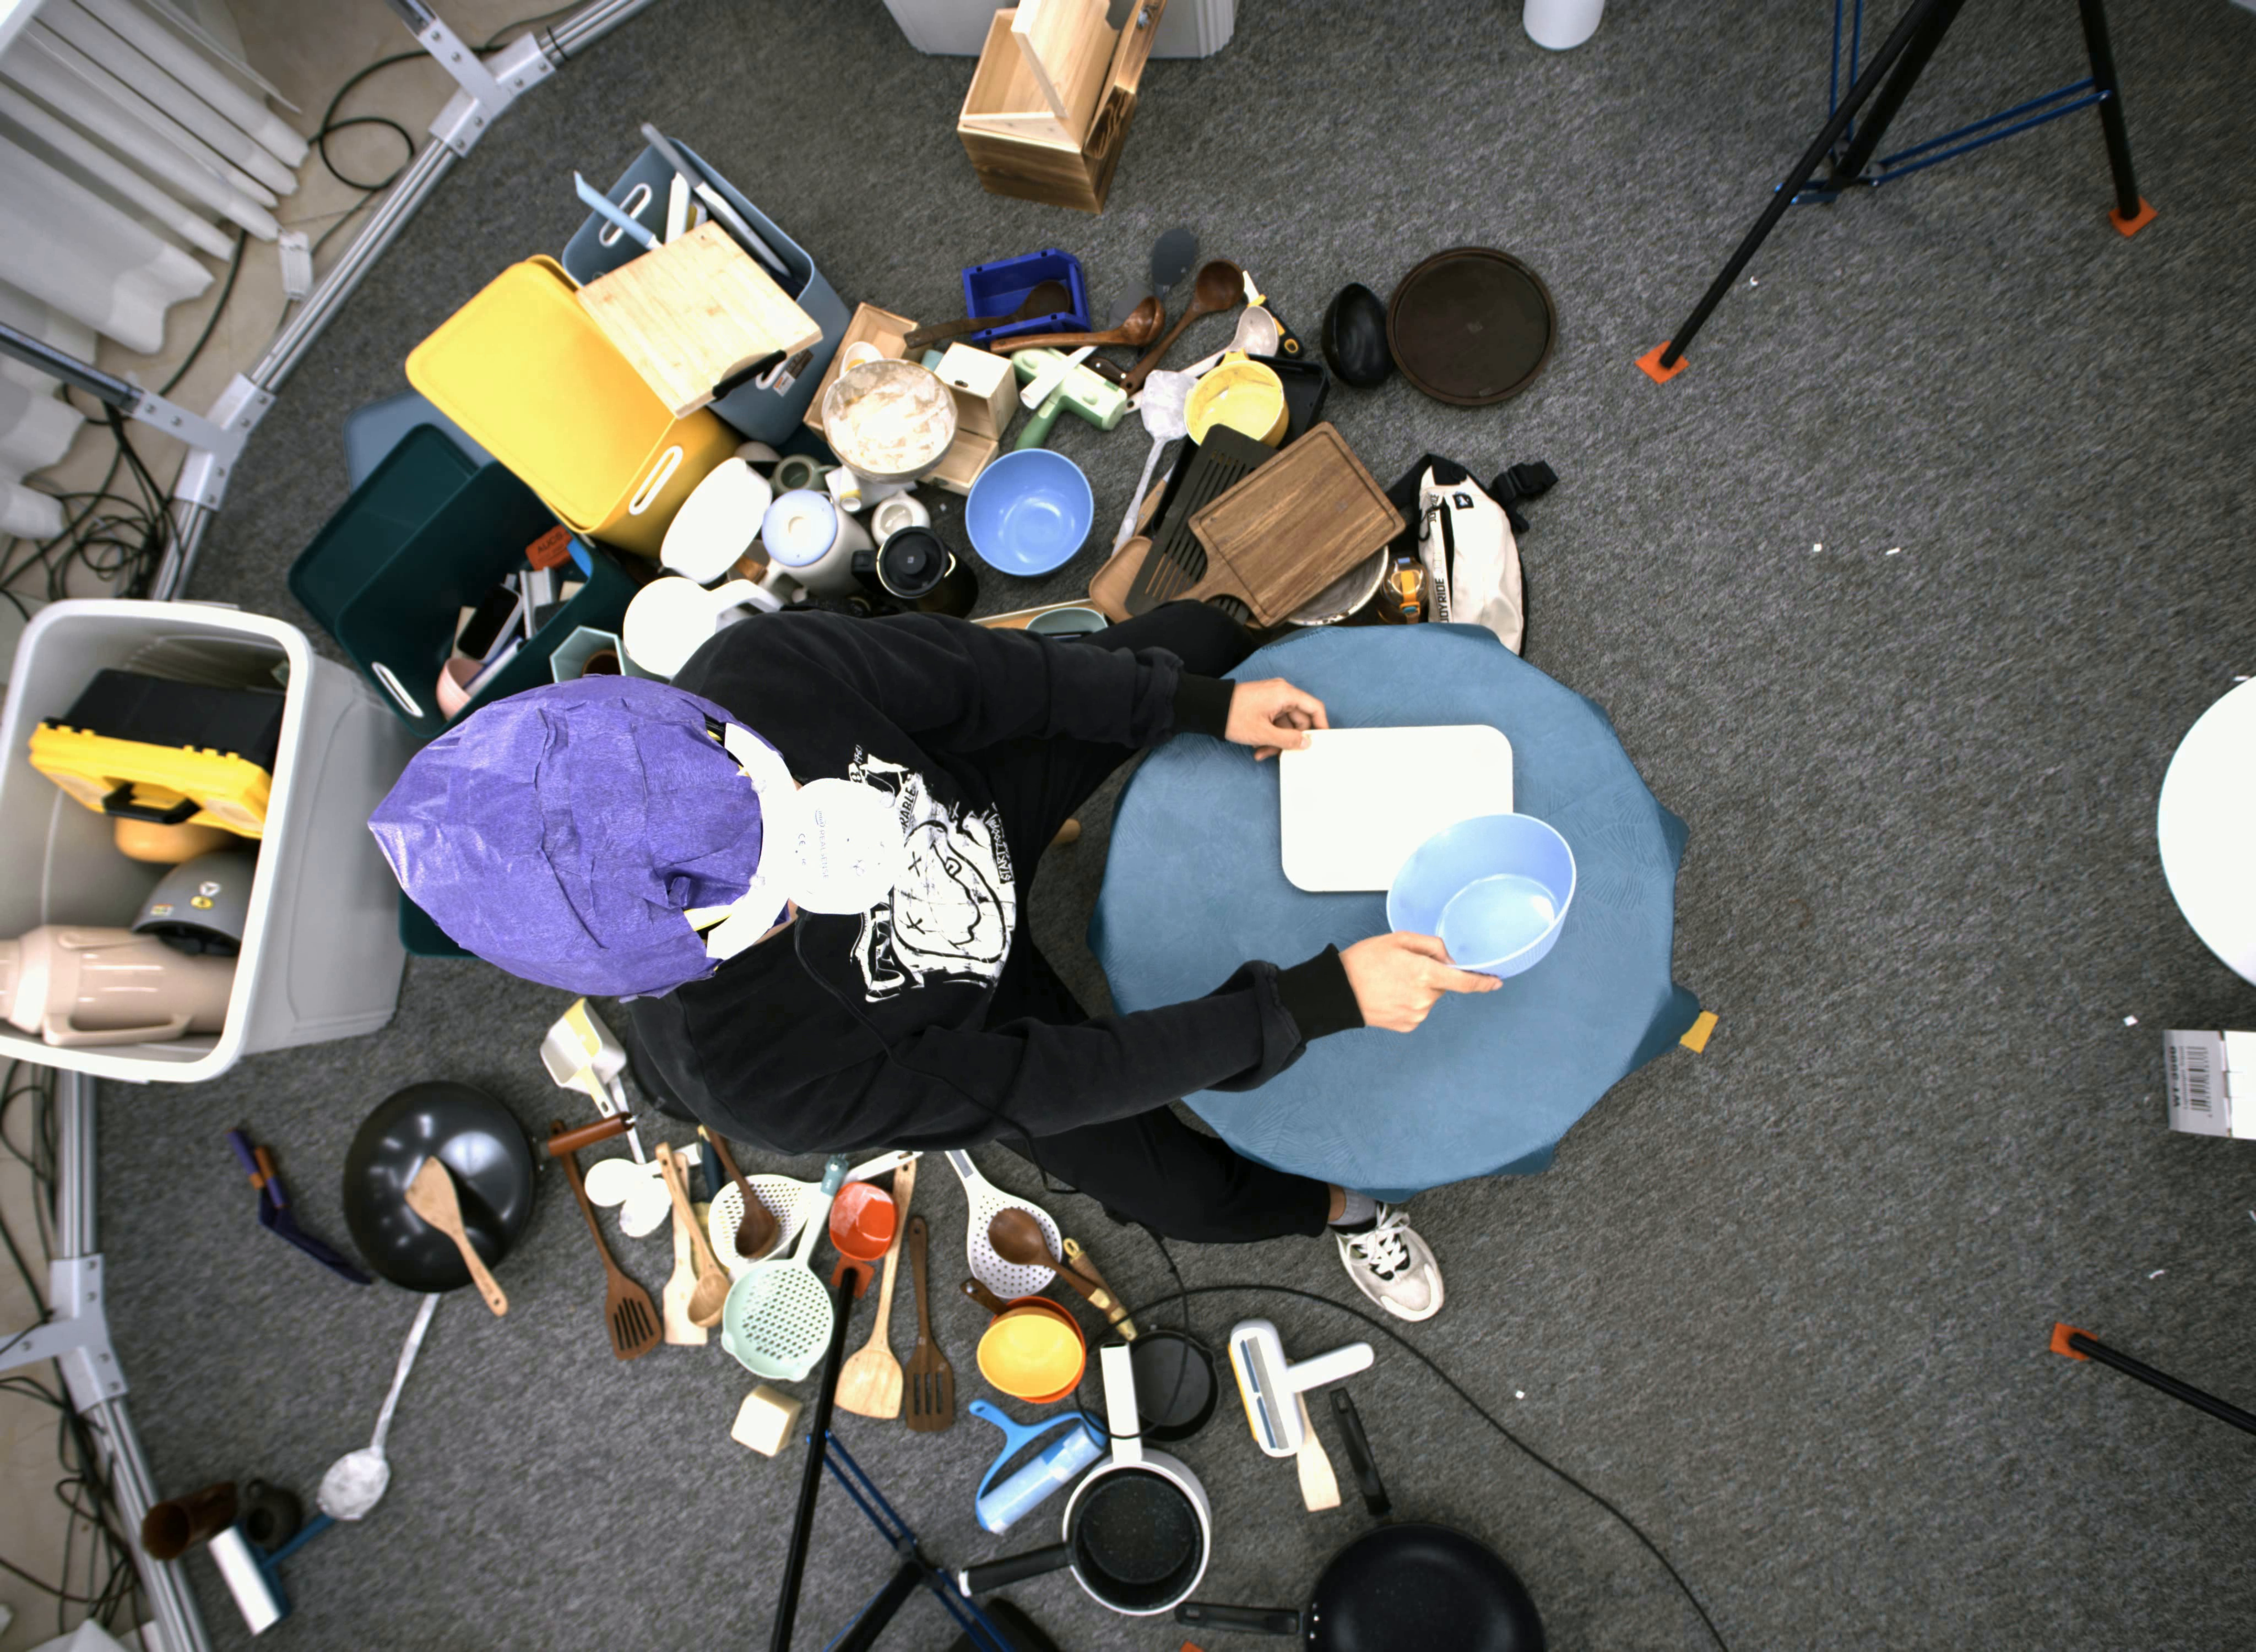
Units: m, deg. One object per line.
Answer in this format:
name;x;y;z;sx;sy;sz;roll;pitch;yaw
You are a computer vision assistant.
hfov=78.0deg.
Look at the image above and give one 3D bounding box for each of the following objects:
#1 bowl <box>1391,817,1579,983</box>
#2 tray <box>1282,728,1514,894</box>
bowl;0.337;0.077;1.273;0.178;0.071;0.171;-21;42;20
tray;0.283;-0.017;1.446;0.240;0.017;0.172;-1;95;9
